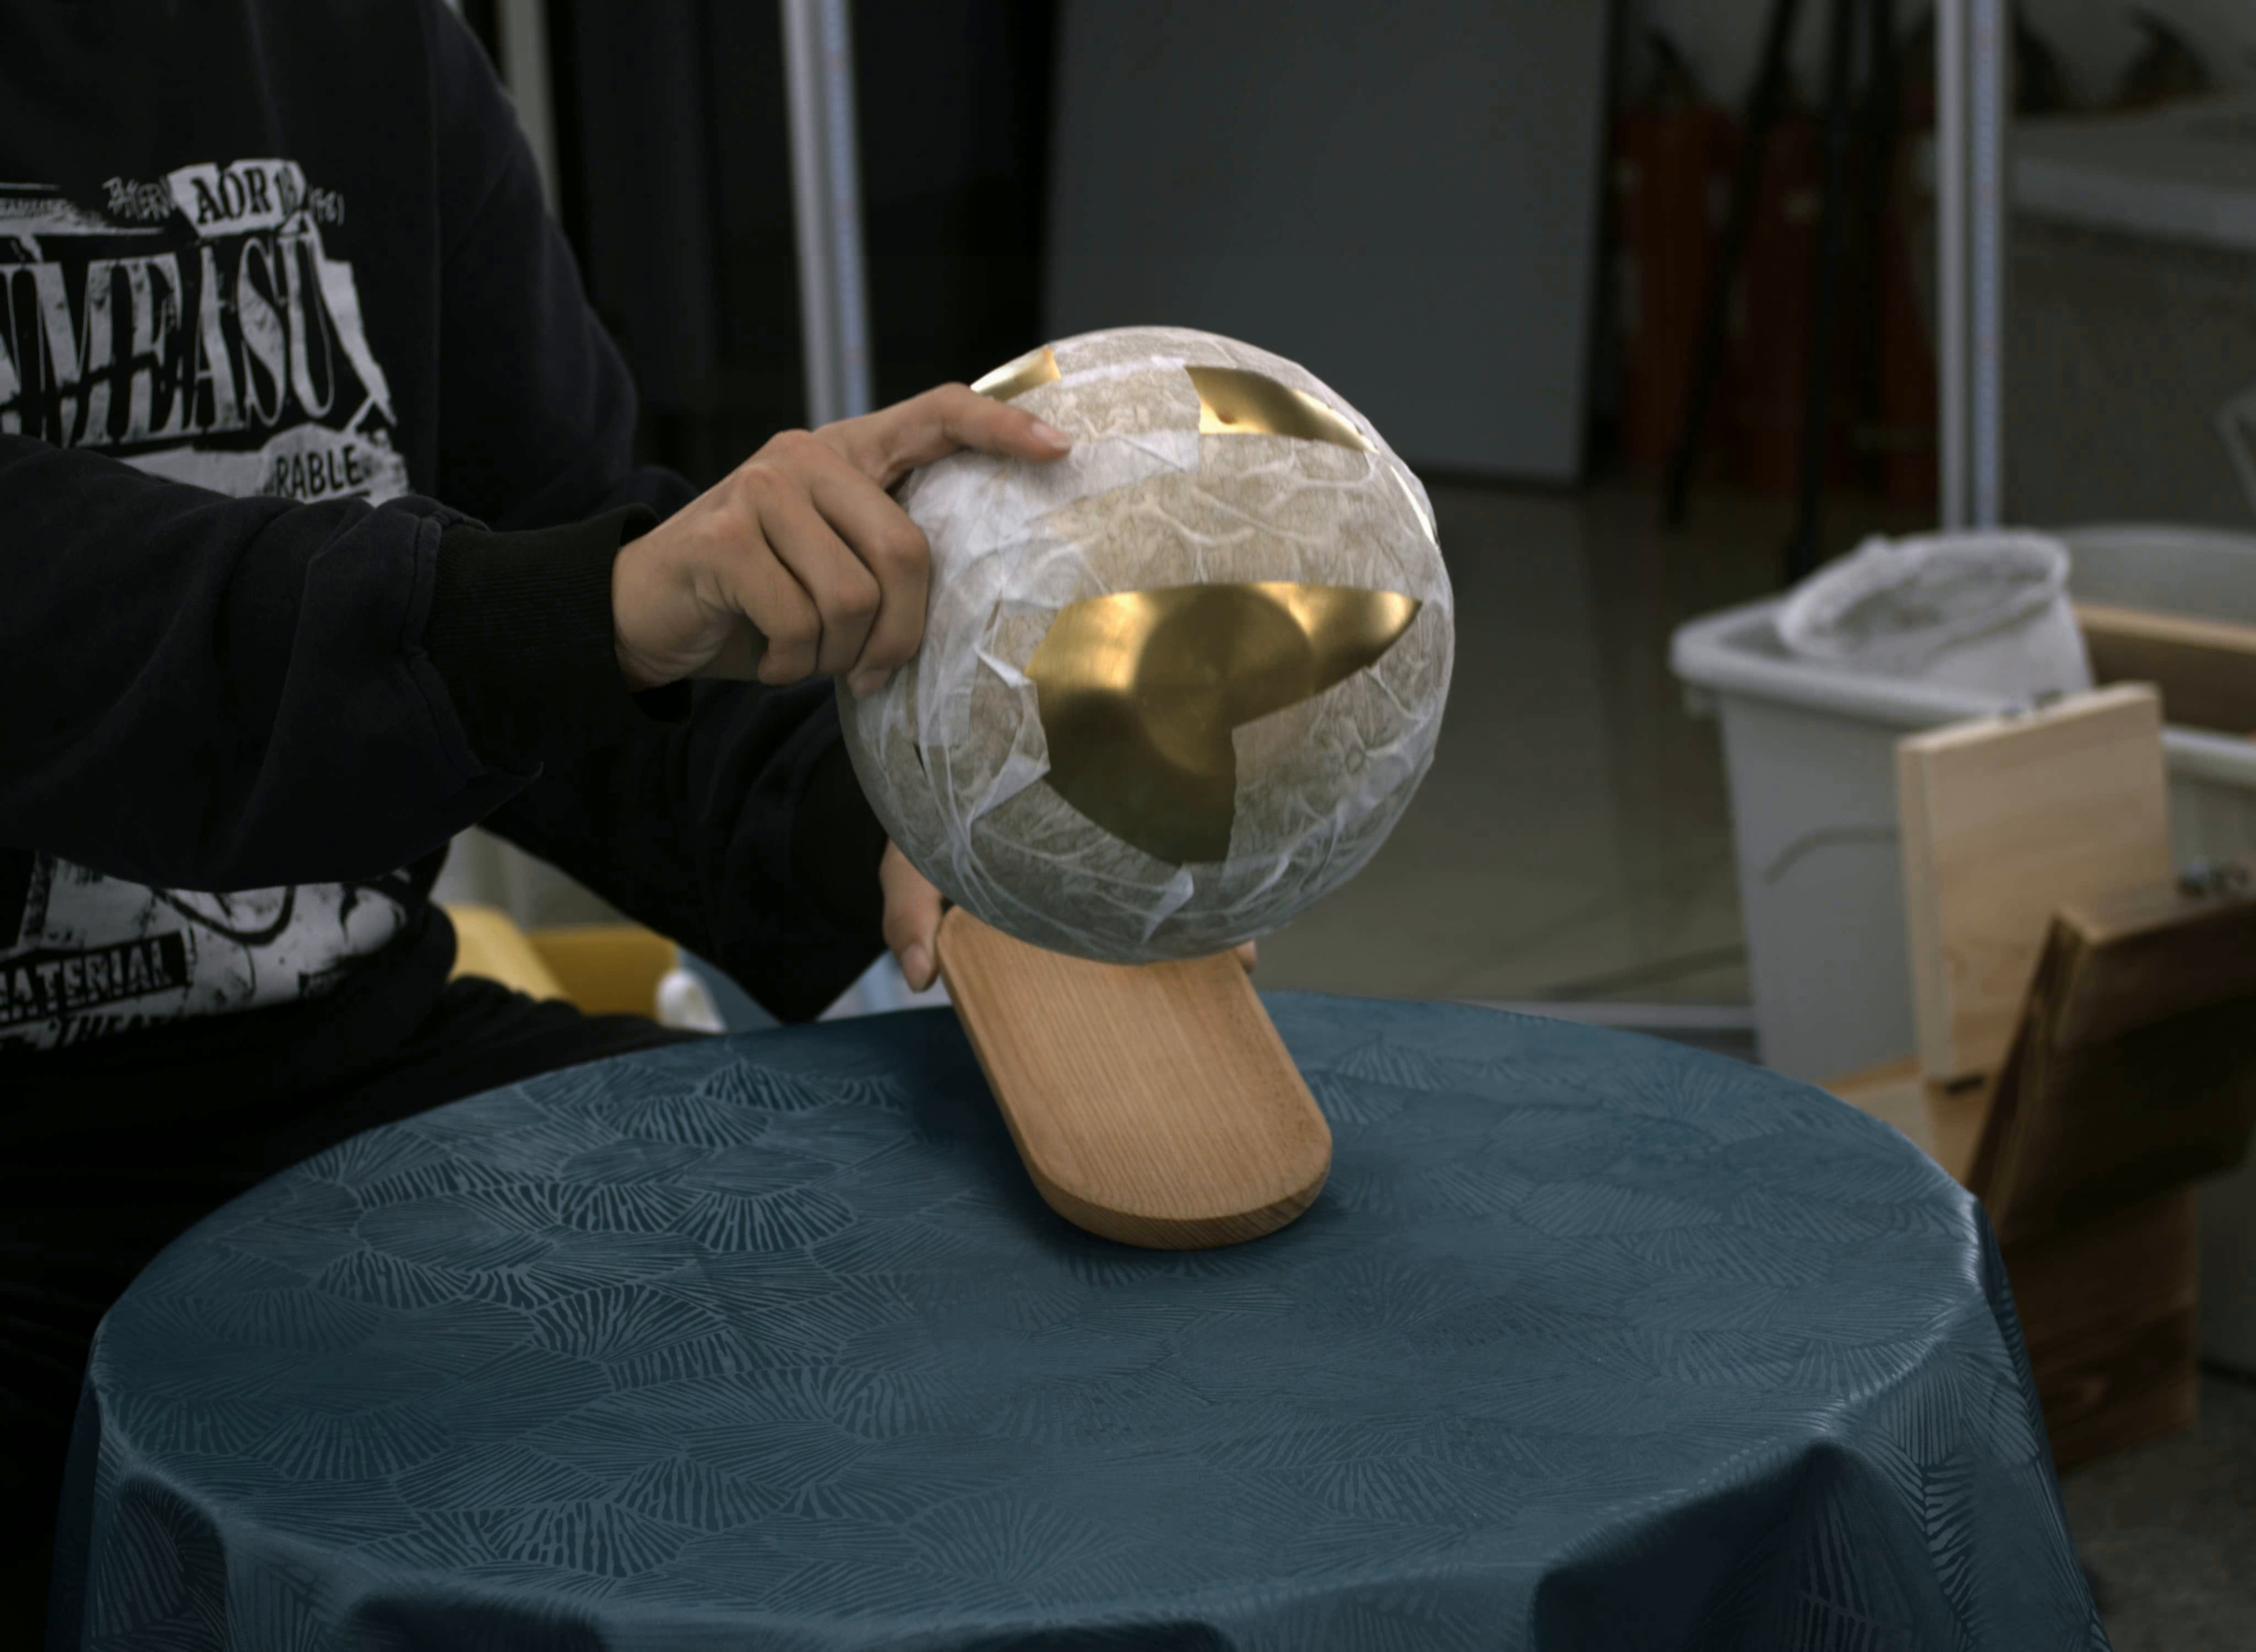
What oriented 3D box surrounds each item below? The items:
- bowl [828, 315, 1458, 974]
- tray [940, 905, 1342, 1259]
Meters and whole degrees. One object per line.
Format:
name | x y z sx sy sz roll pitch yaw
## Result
bowl | 0.017 -0.046 1.652 0.210 0.217 0.095 -7 12 -16
tray | 0.002 0.079 1.799 0.100 0.020 0.233 -7 30 -13
